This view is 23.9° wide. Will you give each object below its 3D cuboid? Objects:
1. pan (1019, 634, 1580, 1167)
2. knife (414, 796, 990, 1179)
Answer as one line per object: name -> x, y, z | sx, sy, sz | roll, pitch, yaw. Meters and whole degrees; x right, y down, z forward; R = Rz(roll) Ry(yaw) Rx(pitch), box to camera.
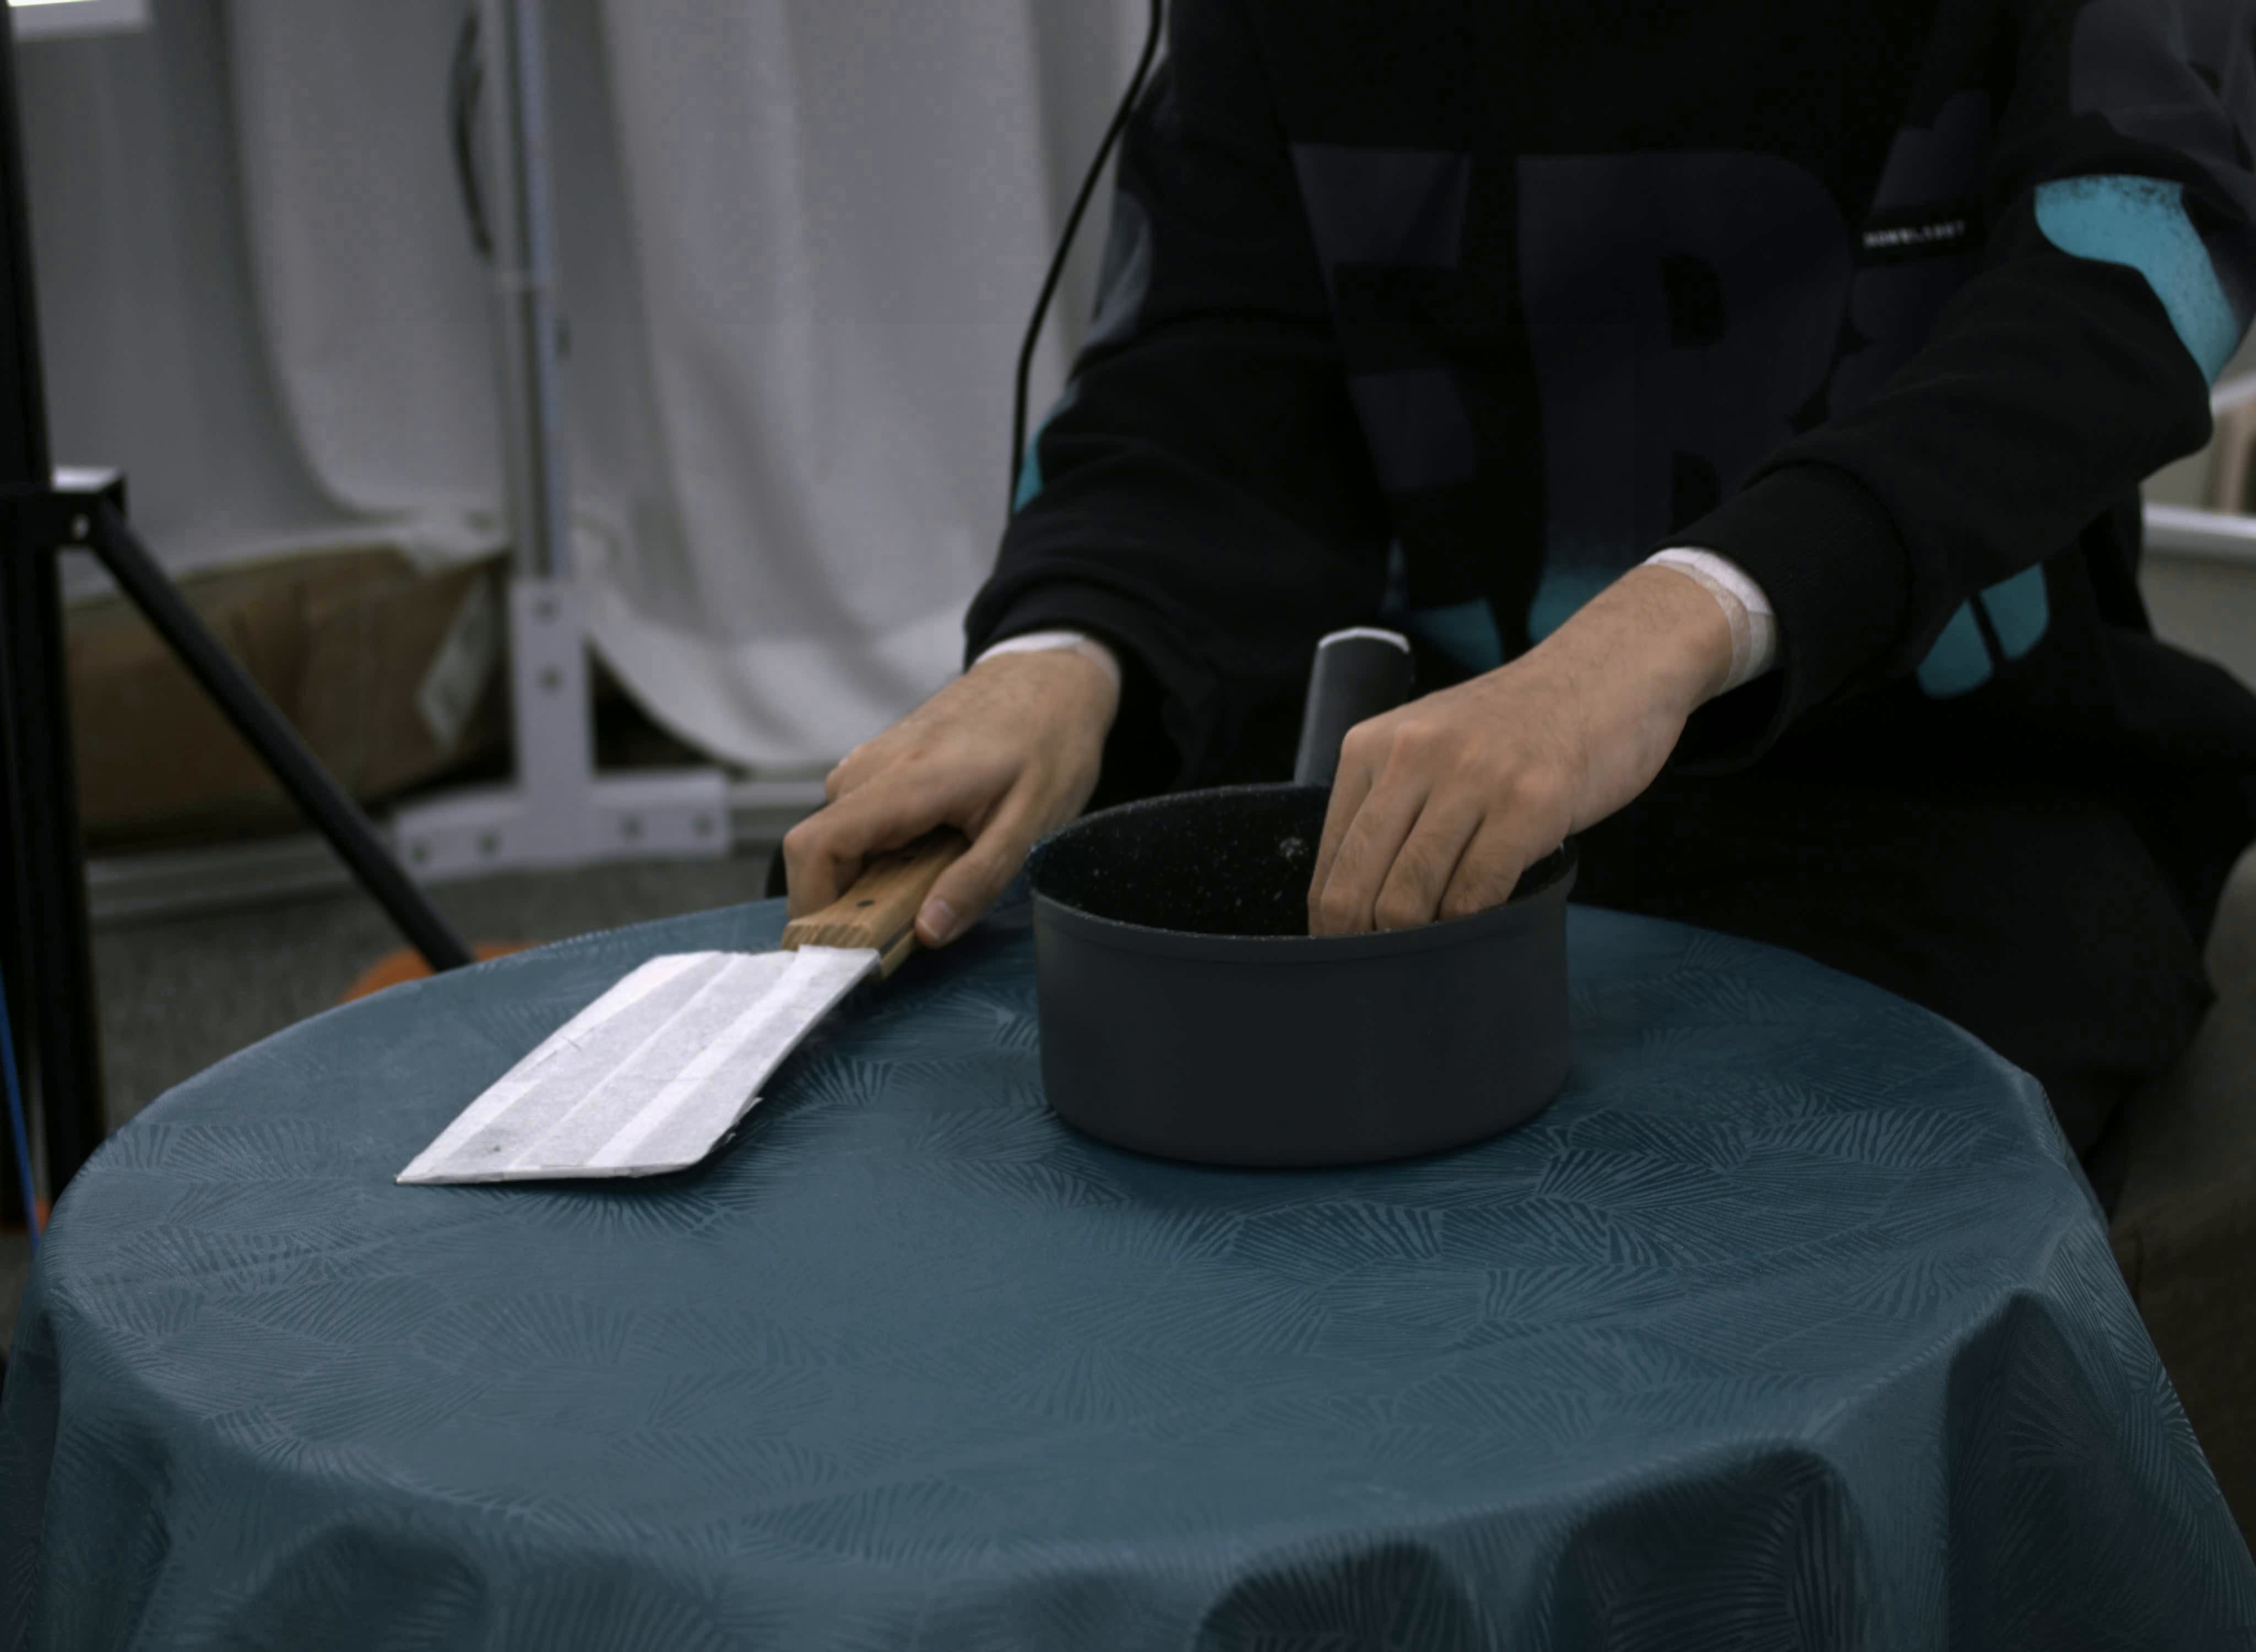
pan -> 0.066, 0.021, 1.702 | 0.173, 0.086, 0.327 | 2, 17, 10
knife -> -0.119, 0.052, 1.712 | 0.115, 0.021, 0.311 | -1, 20, 26
